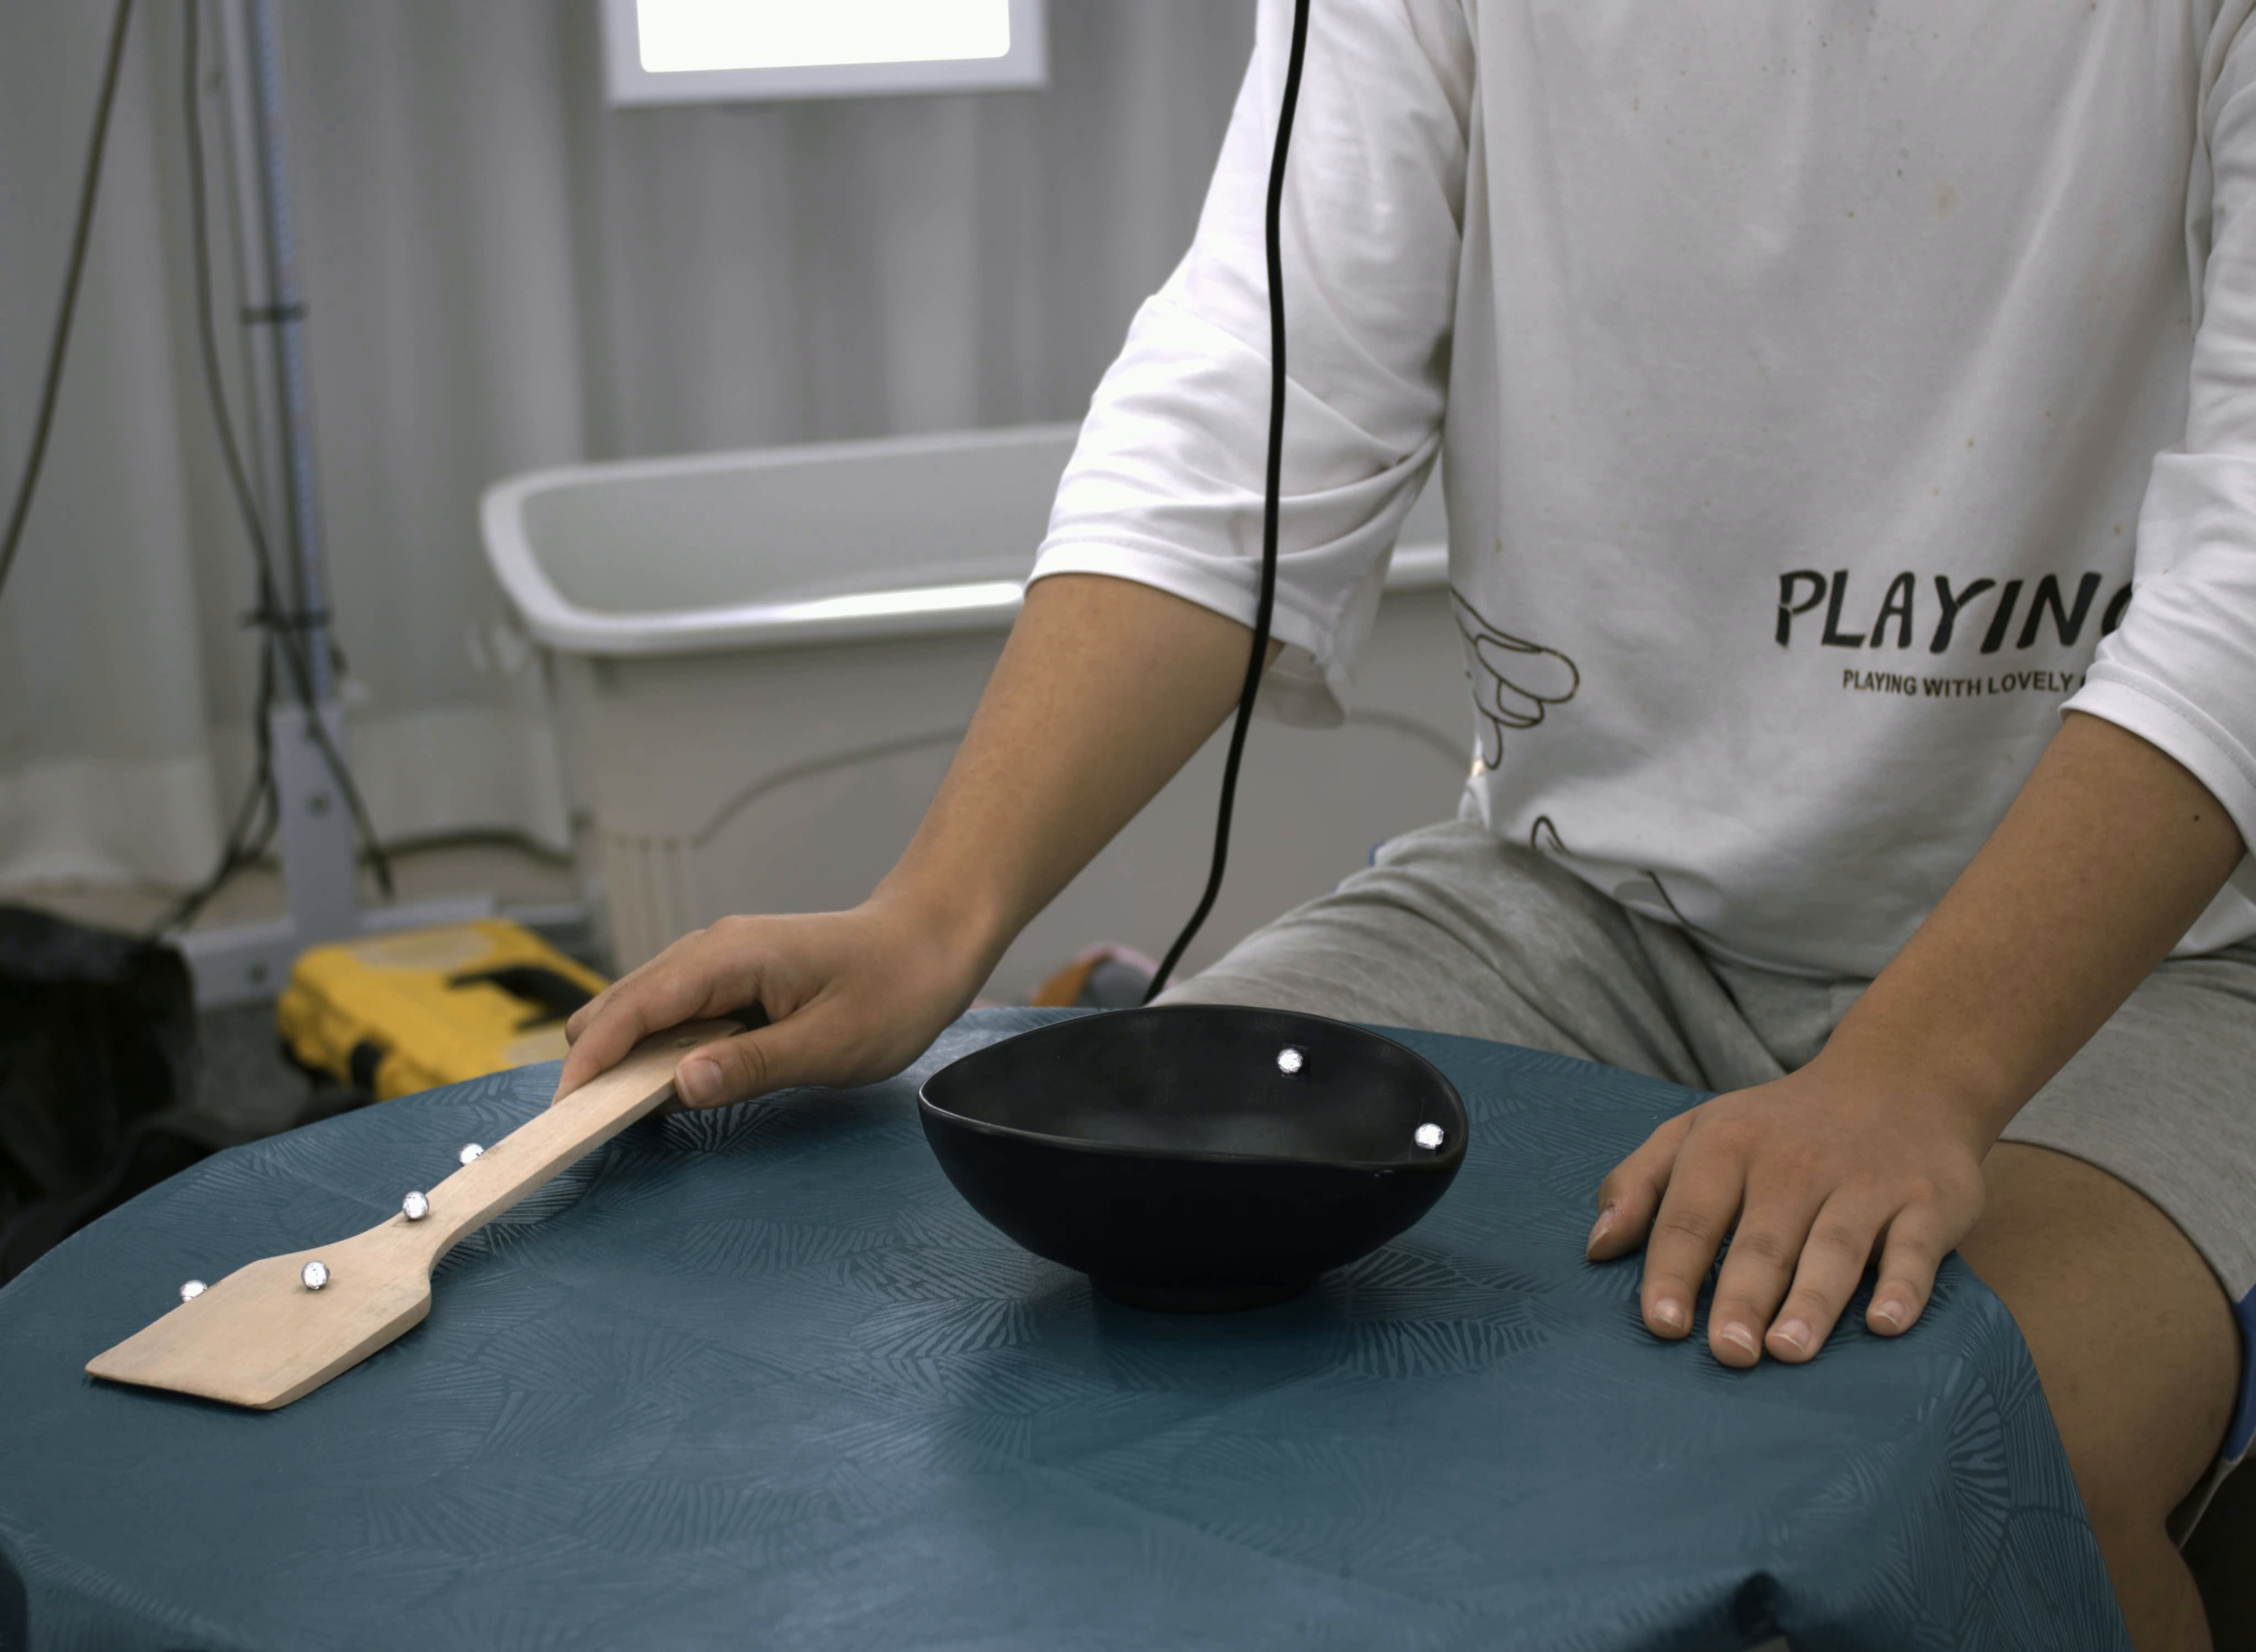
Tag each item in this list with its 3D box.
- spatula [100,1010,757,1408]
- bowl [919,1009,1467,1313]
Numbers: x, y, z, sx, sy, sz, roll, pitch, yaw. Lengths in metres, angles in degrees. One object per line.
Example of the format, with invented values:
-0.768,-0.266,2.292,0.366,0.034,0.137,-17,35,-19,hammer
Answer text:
-0.202,0.114,1.694,0.072,0.010,0.294,5,23,29,spatula
0.020,0.104,1.632,0.170,0.066,0.138,5,16,21,bowl
